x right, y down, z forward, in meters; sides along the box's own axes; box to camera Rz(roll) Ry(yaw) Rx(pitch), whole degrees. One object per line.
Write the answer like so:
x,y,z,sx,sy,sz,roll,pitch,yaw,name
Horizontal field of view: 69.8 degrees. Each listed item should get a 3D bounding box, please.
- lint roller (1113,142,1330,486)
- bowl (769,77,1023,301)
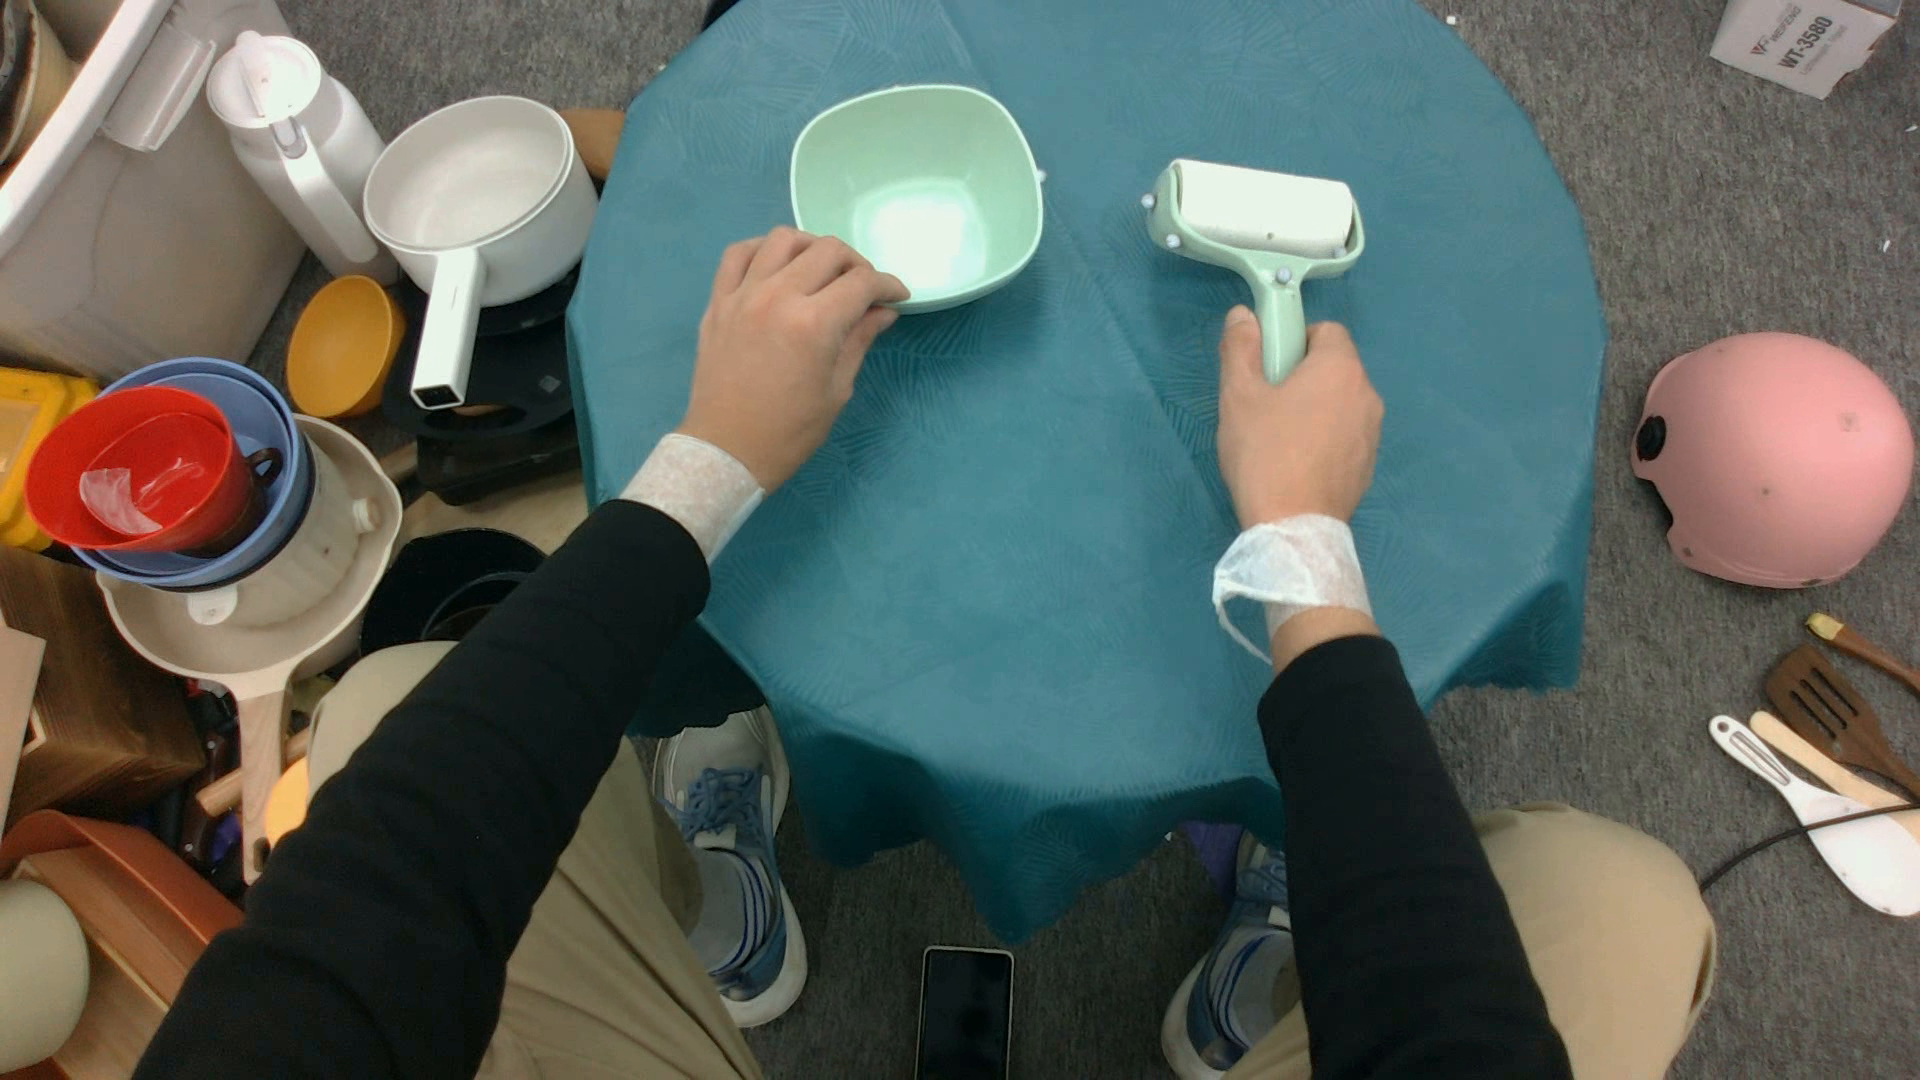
0.146,-0.125,0.738,0.117,0.048,0.198,6,63,-15,lint roller
-0.037,-0.191,0.793,0.151,0.058,0.152,1,69,-2,bowl
